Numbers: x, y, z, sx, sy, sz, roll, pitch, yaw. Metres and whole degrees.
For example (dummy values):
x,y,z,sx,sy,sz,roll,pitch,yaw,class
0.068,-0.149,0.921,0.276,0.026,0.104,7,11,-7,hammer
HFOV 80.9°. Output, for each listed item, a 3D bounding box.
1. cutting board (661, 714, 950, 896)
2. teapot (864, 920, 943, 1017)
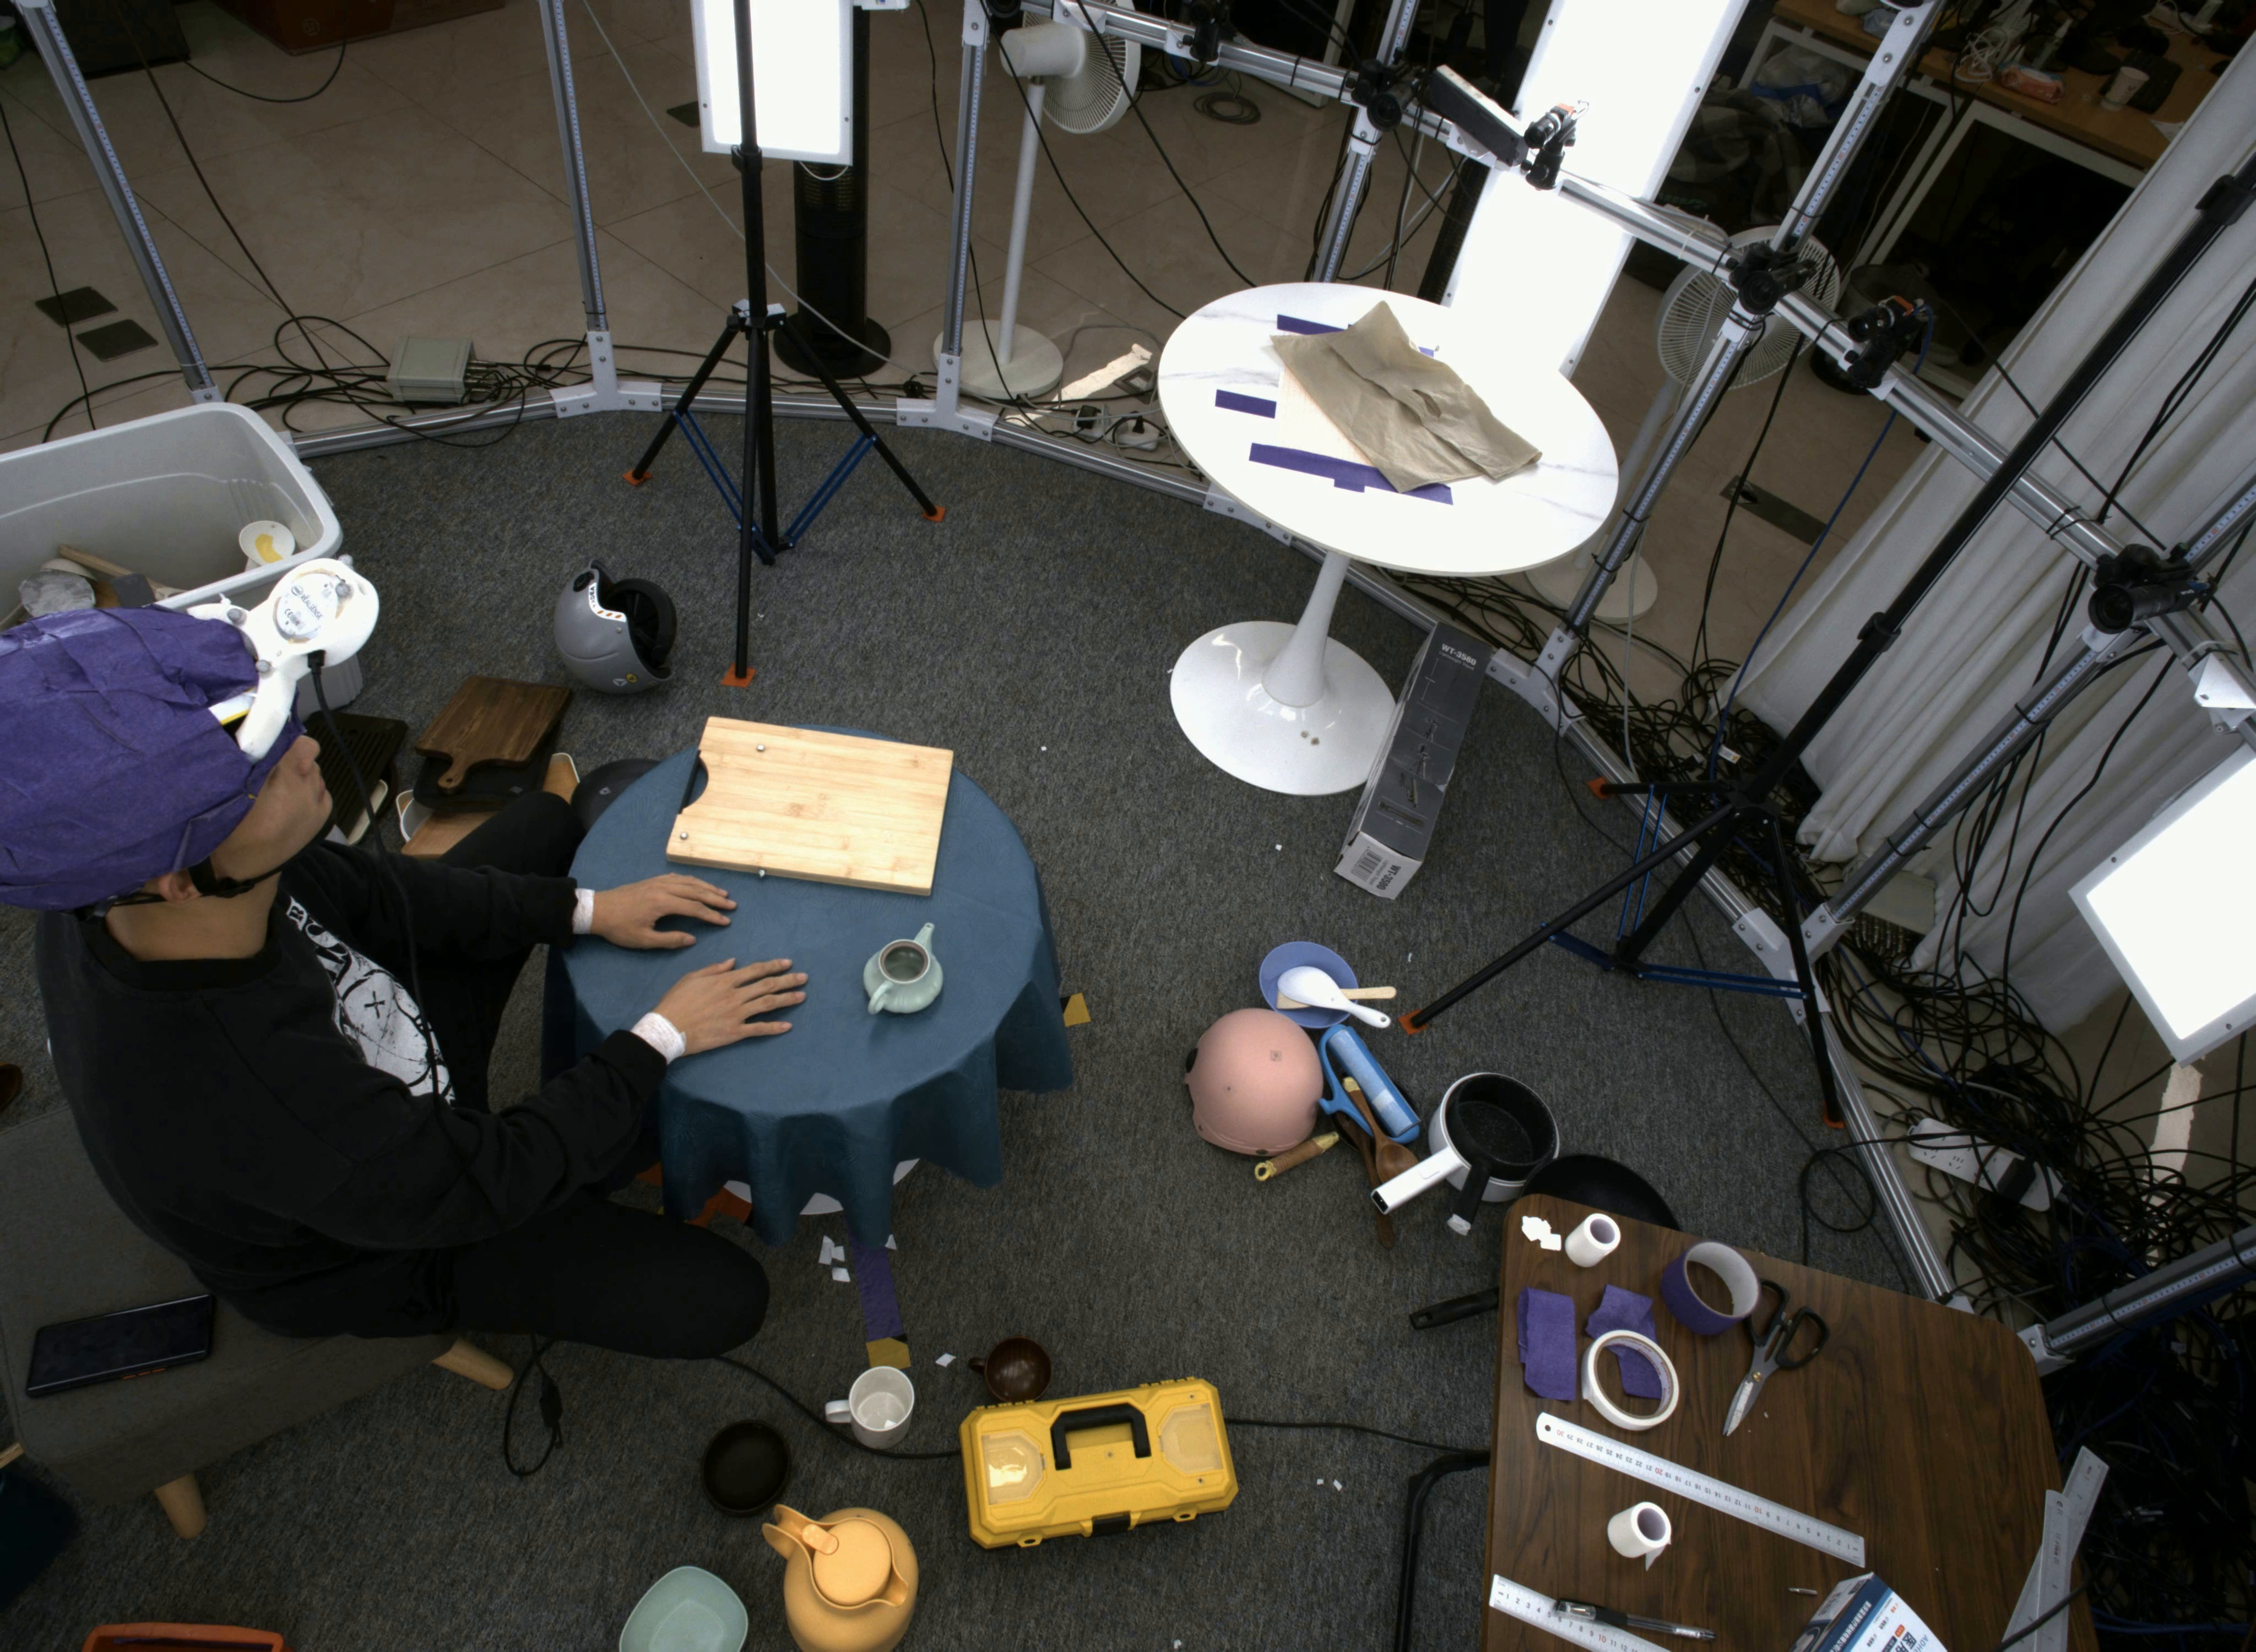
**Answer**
x,y,z,sx,sy,sz,roll,pitch,yaw,class
-0.423,-0.032,1.735,0.348,0.024,0.246,7,52,-9,cutting board
-0.275,0.180,1.587,0.095,0.062,0.136,26,52,5,teapot
